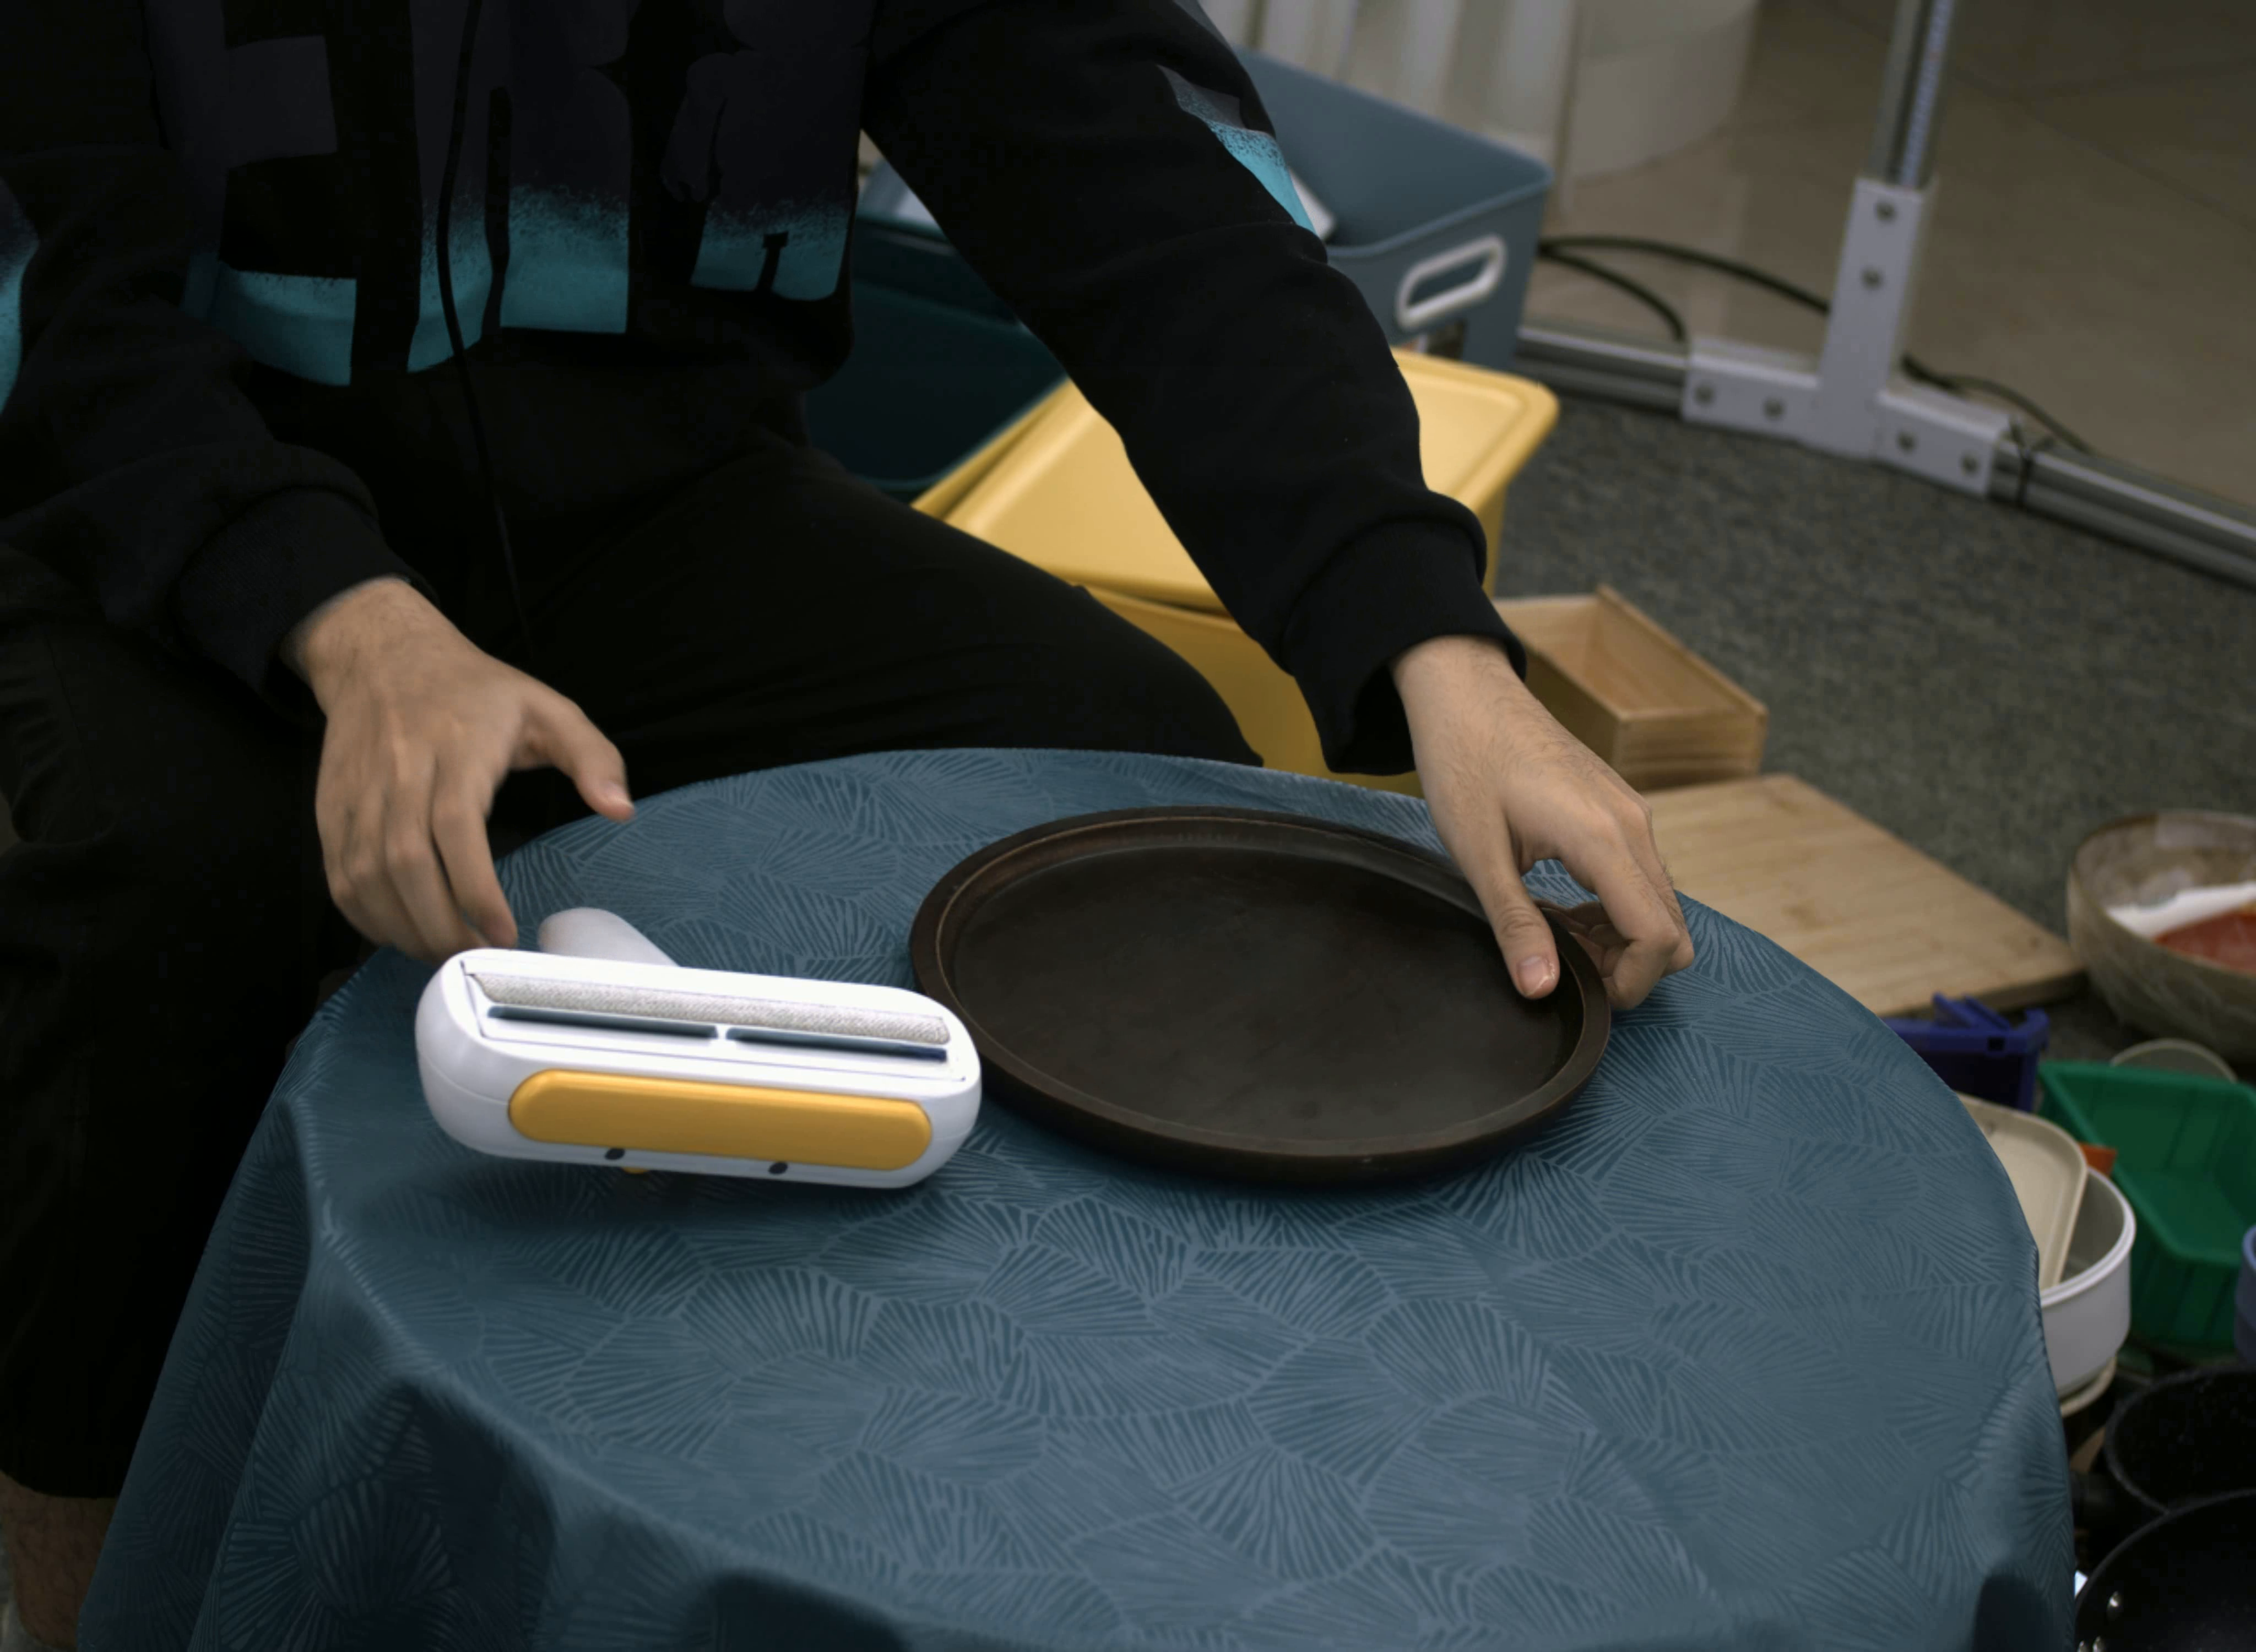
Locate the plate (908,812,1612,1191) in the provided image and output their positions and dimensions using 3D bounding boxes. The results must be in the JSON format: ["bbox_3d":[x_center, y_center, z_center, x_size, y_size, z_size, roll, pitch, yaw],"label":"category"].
[{"bbox_3d":[0.047,0.061,1.908,0.254,0.029,0.256,5,26,-3],"label":"plate"}]

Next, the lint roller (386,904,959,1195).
[{"bbox_3d":[-0.165,0.061,1.811,0.191,0.074,0.194,4,25,-17],"label":"lint roller"}]
